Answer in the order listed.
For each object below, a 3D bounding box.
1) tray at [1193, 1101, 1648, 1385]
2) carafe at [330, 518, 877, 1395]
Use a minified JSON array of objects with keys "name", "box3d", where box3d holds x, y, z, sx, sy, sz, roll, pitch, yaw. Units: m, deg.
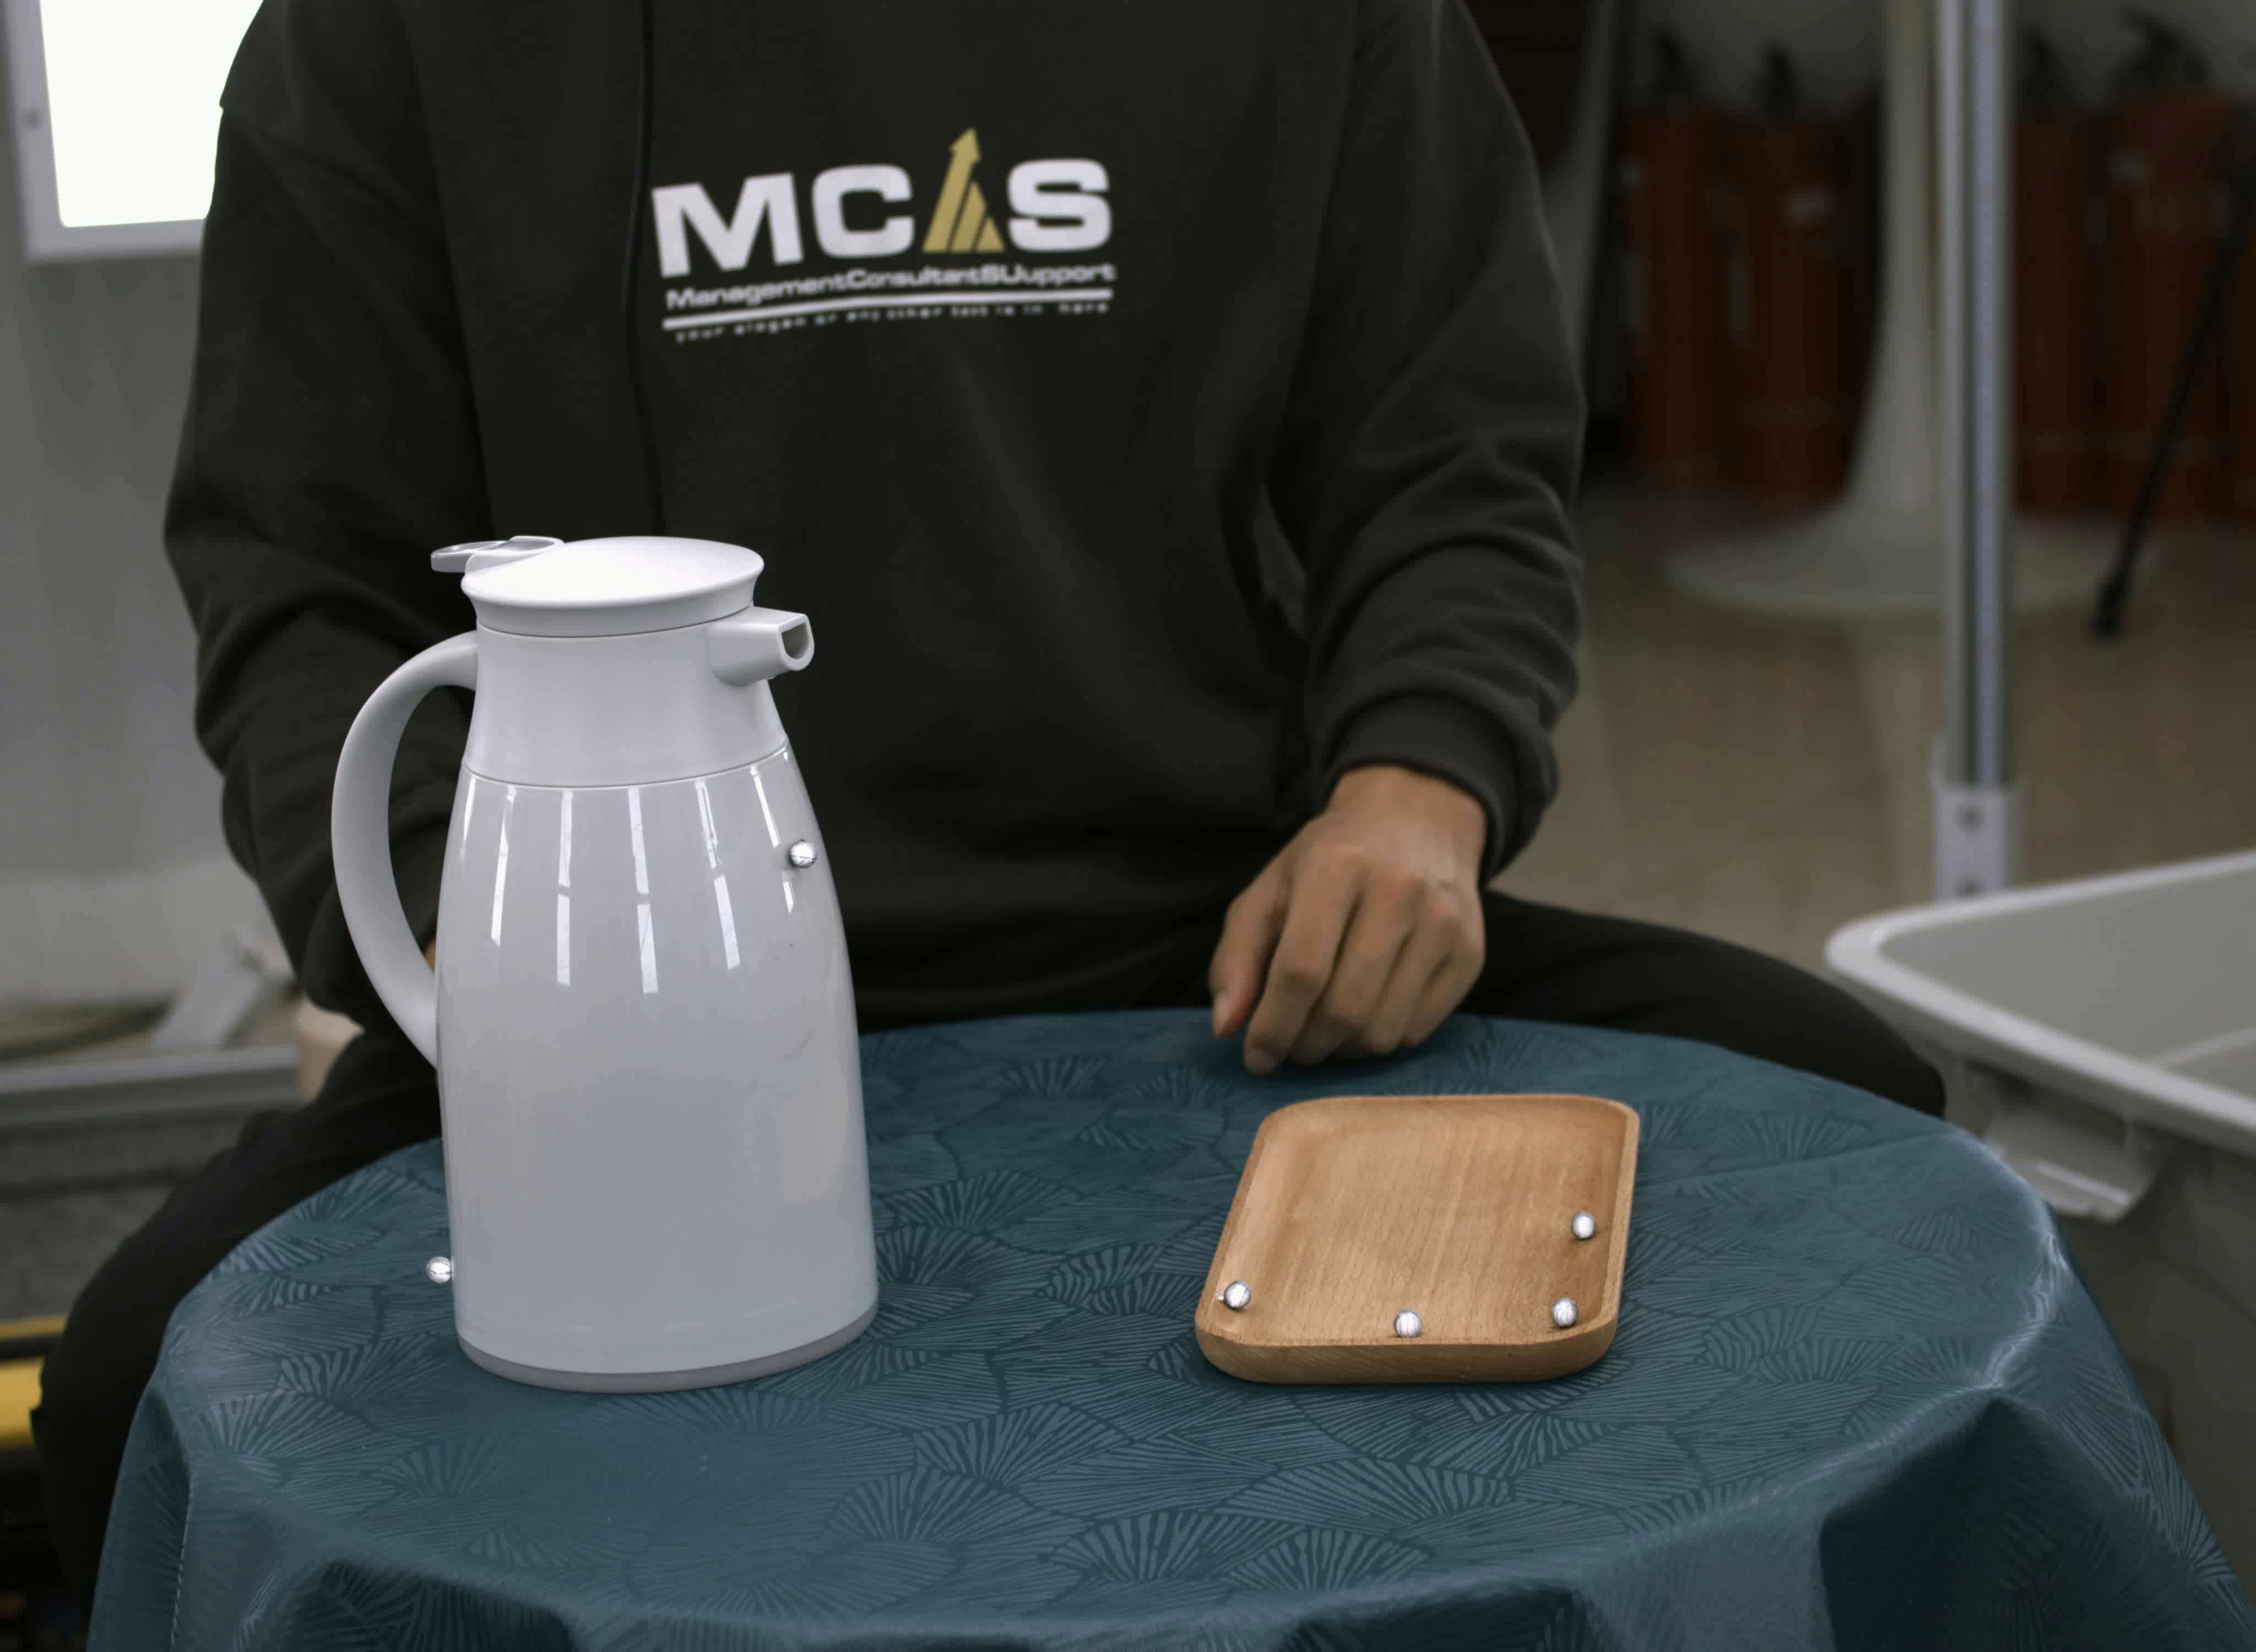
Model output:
[{"name":"tray","box3d":[0.096,0.128,1.688,0.129,0.023,0.249,1,13,9]},{"name":"carafe","box3d":[-0.166,0.032,1.652,0.168,0.251,0.131,2,14,24]}]
